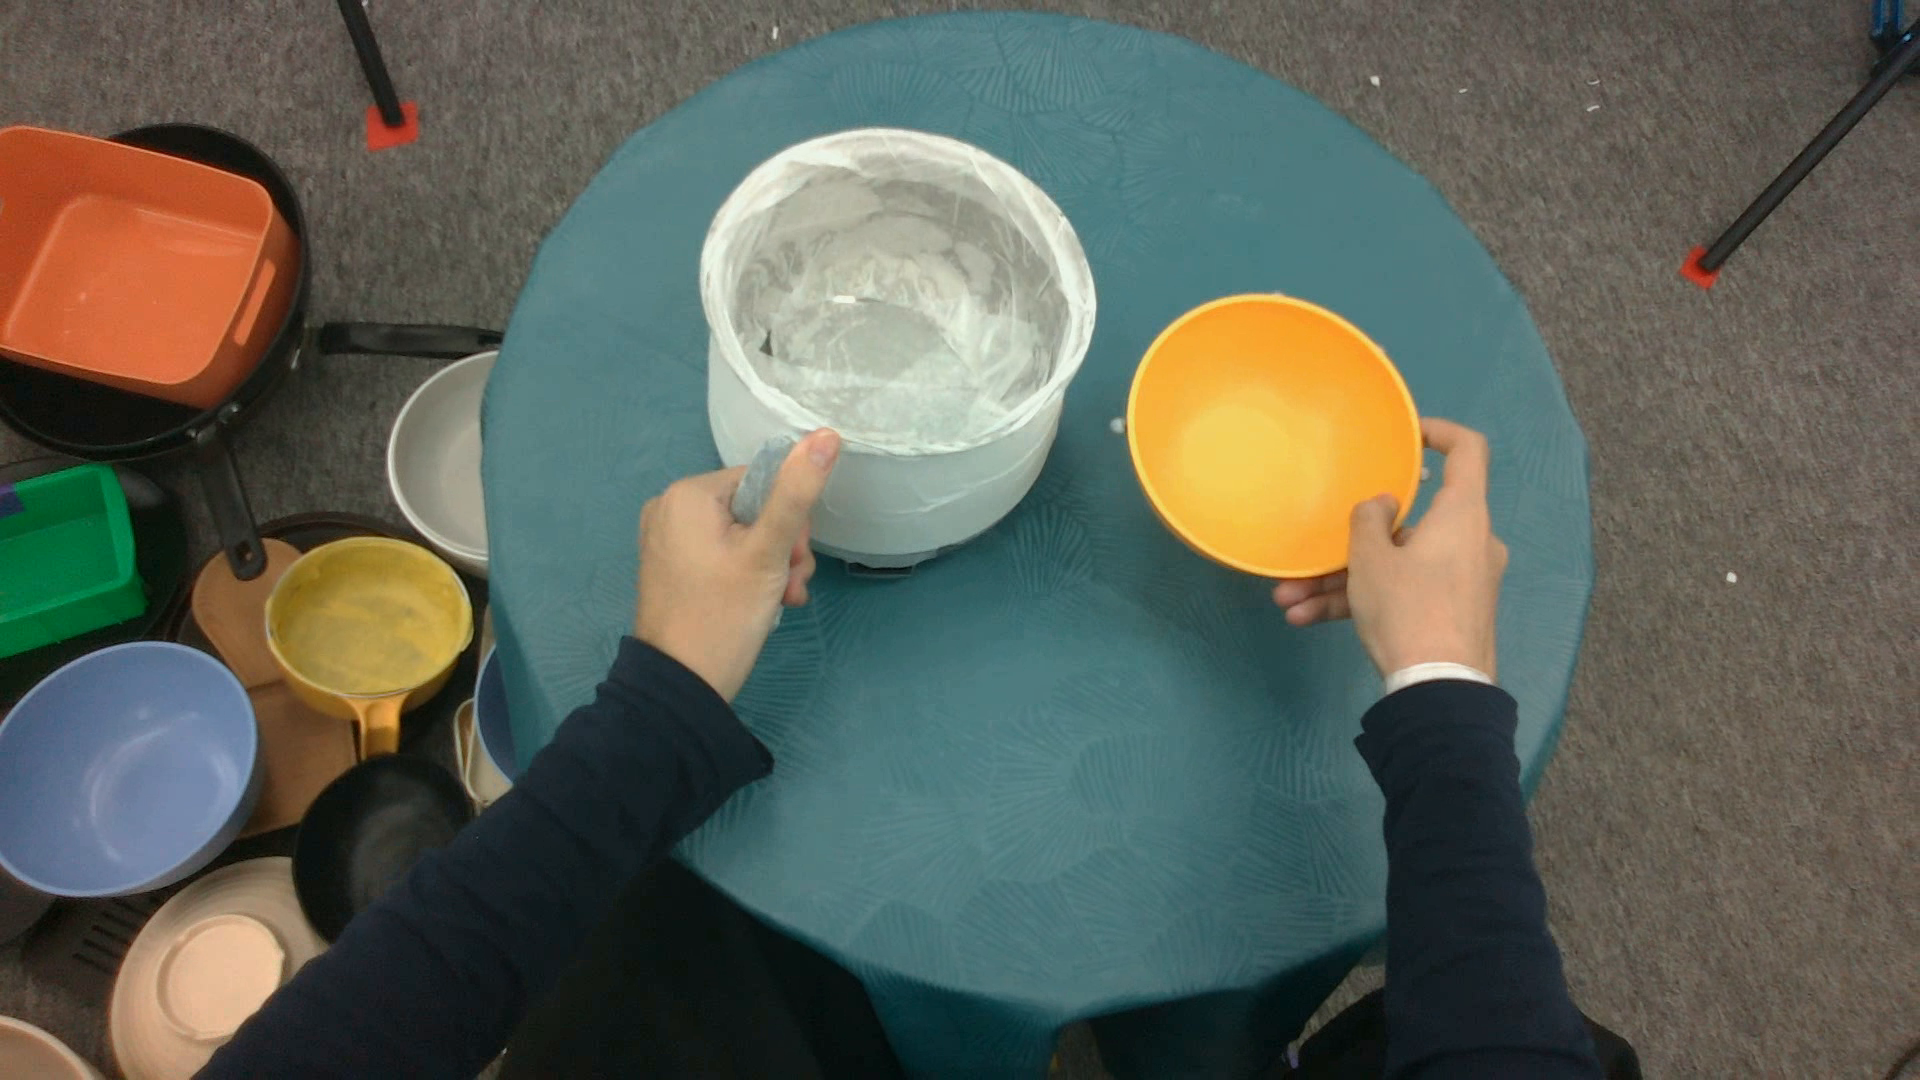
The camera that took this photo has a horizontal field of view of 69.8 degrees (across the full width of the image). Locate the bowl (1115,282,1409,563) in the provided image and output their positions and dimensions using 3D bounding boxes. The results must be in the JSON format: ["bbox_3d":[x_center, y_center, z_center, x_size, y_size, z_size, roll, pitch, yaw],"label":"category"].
[{"bbox_3d":[0.141,-0.050,0.682,0.145,0.060,0.145,3,72,-8],"label":"bowl"}]

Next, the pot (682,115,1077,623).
[{"bbox_3d":[-0.053,-0.073,0.658,0.178,0.136,0.235,26,62,7],"label":"pot"}]
